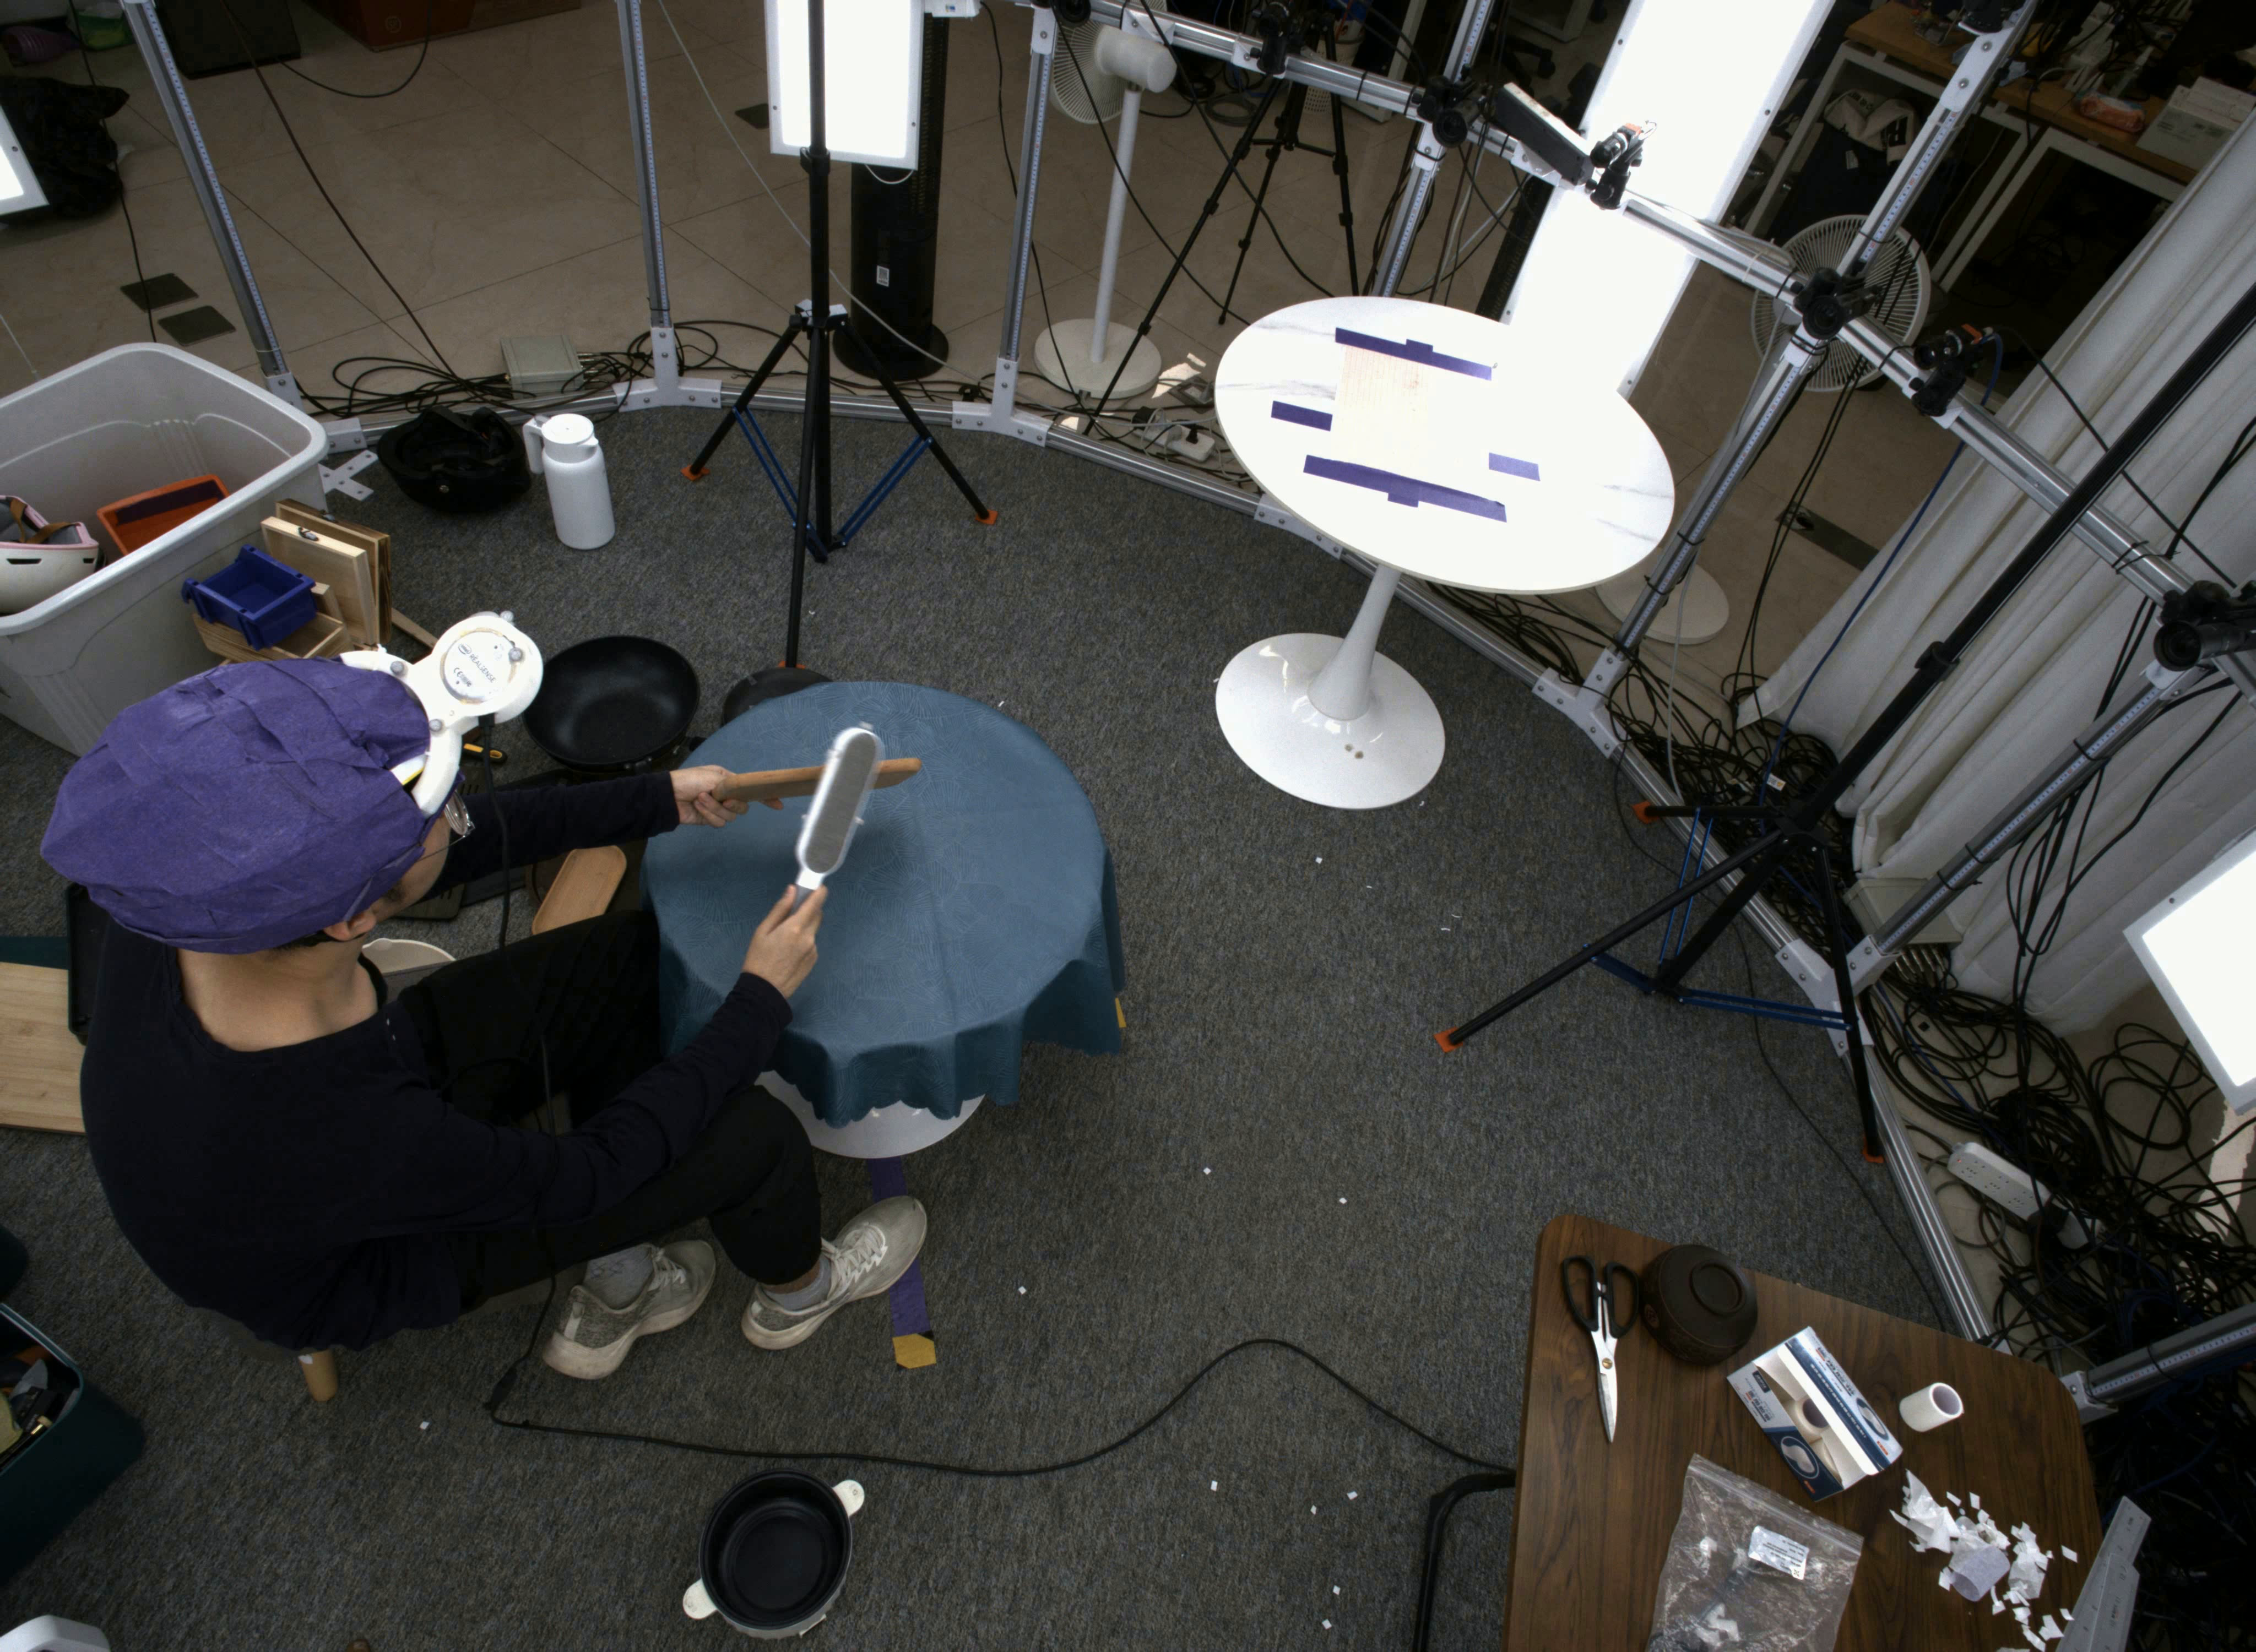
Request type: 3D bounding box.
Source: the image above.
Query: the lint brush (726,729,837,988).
[{"bbox_3d":[-0.408,0.037,1.505,0.020,0.062,0.311,18,88,41],"label":"lint brush"}]

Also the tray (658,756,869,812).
[{"bbox_3d":[-0.450,-0.053,1.602,0.253,0.129,0.023,-11,81,-30],"label":"tray"}]
